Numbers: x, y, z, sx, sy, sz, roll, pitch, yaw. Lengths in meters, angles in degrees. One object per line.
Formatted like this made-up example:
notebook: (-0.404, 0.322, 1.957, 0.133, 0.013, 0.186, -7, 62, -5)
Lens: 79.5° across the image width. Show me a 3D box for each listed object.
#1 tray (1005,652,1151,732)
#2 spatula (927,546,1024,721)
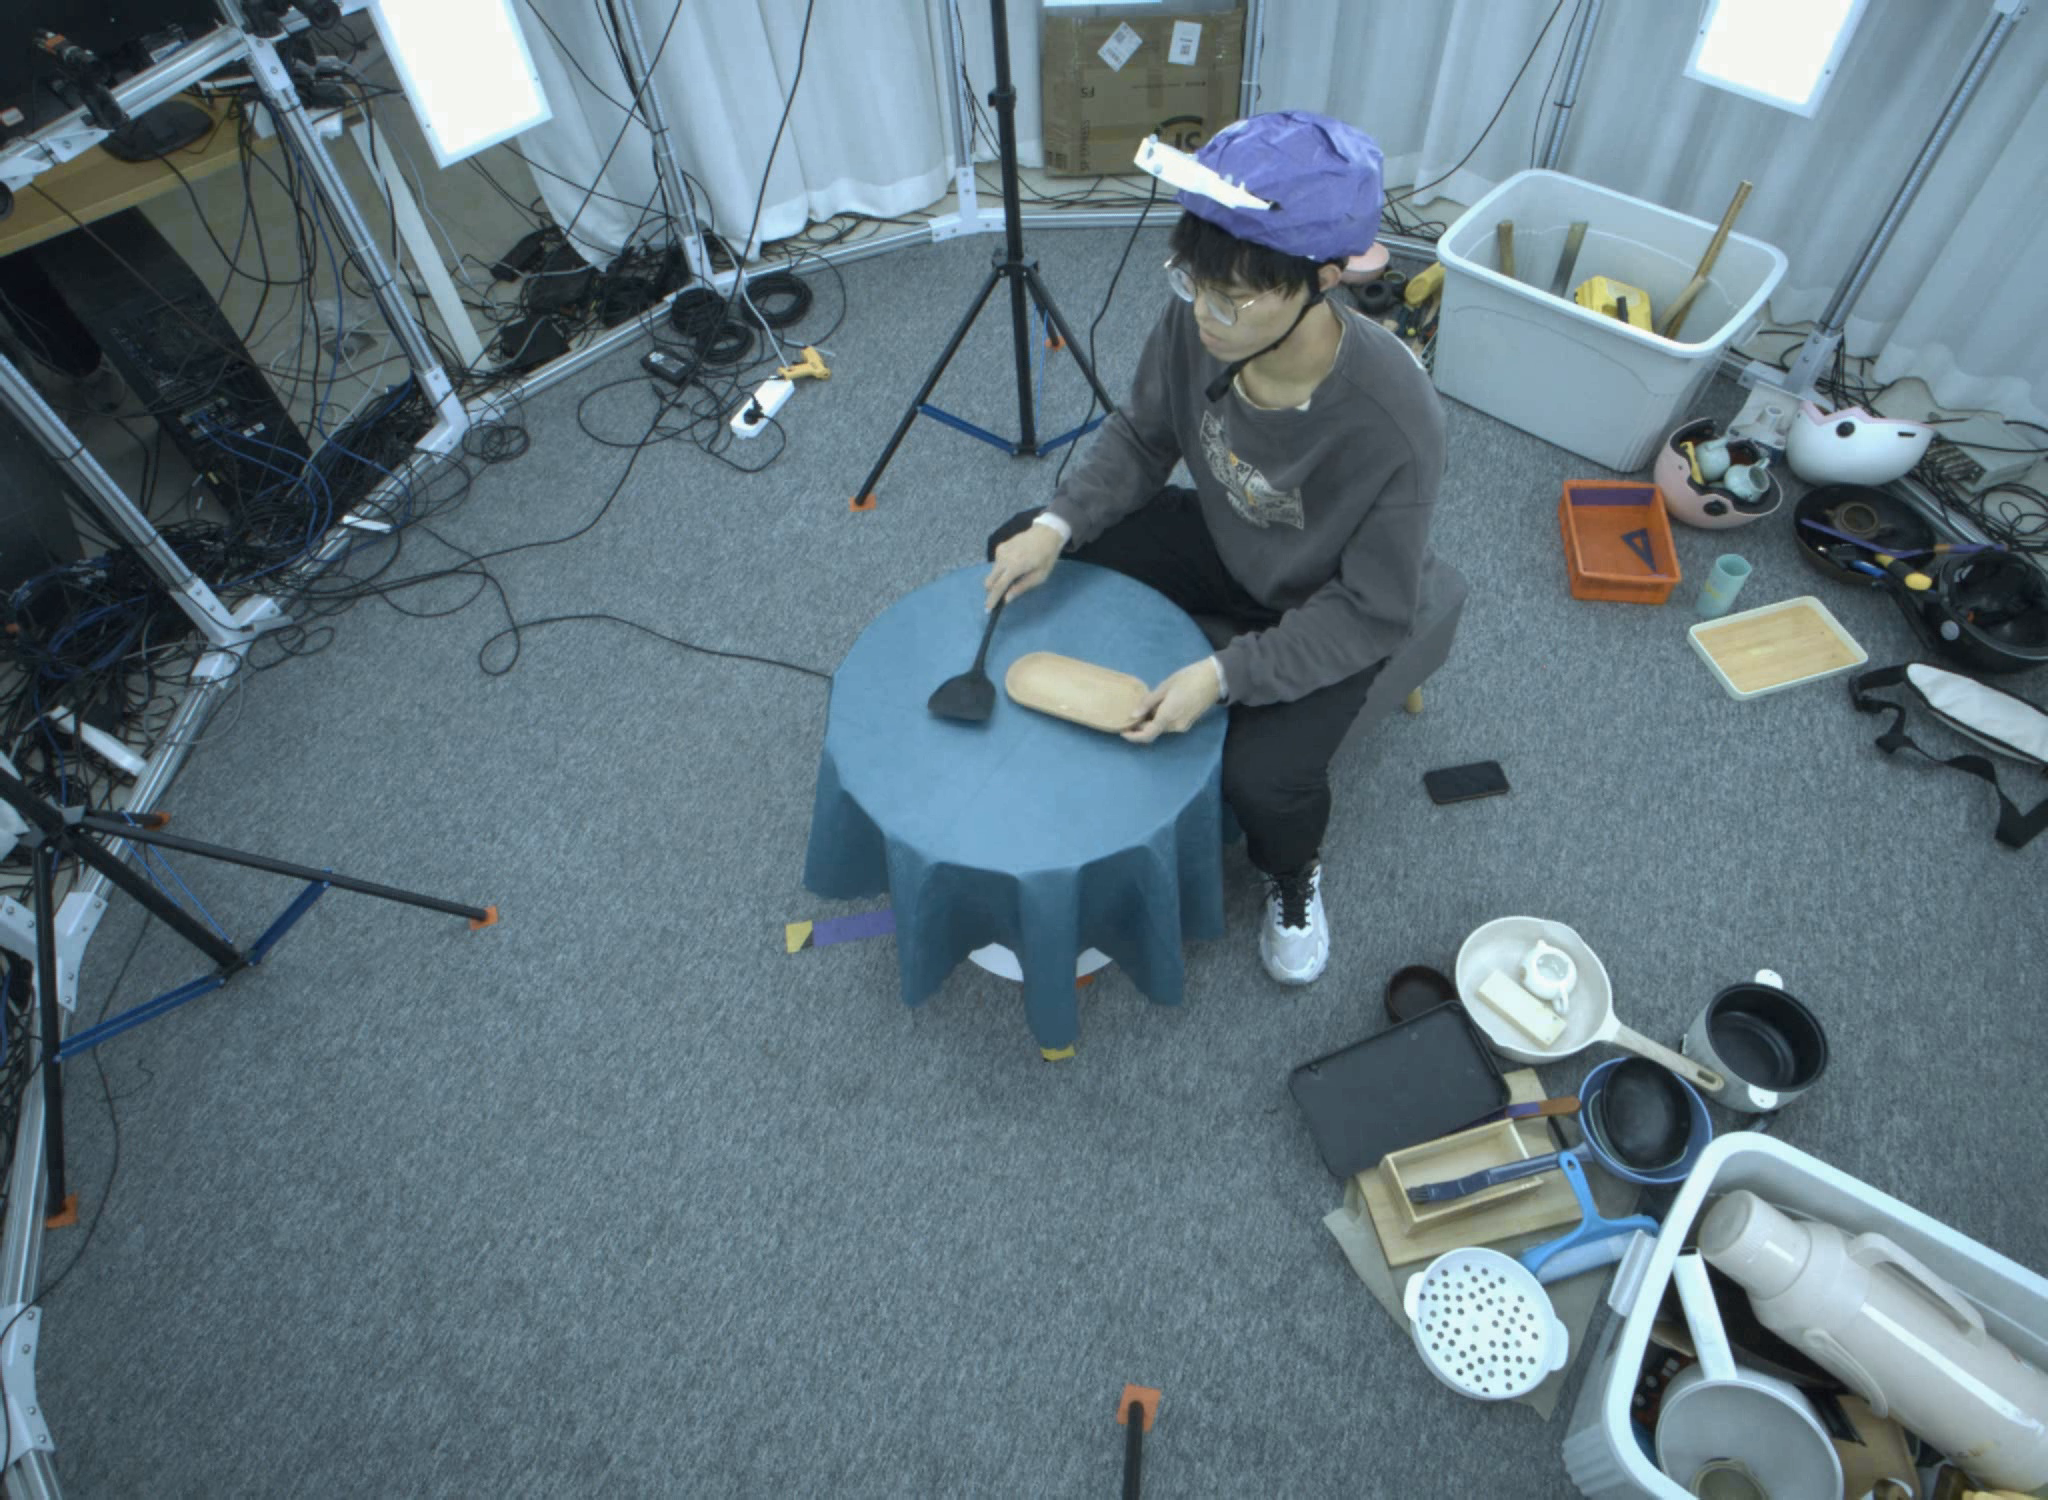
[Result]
tray: (0.078, -0.086, 1.822, 0.227, 0.020, 0.102, 18, 56, 23)
spatula: (-0.054, -0.184, 1.875, 0.099, 0.041, 0.325, 12, 68, 13)
